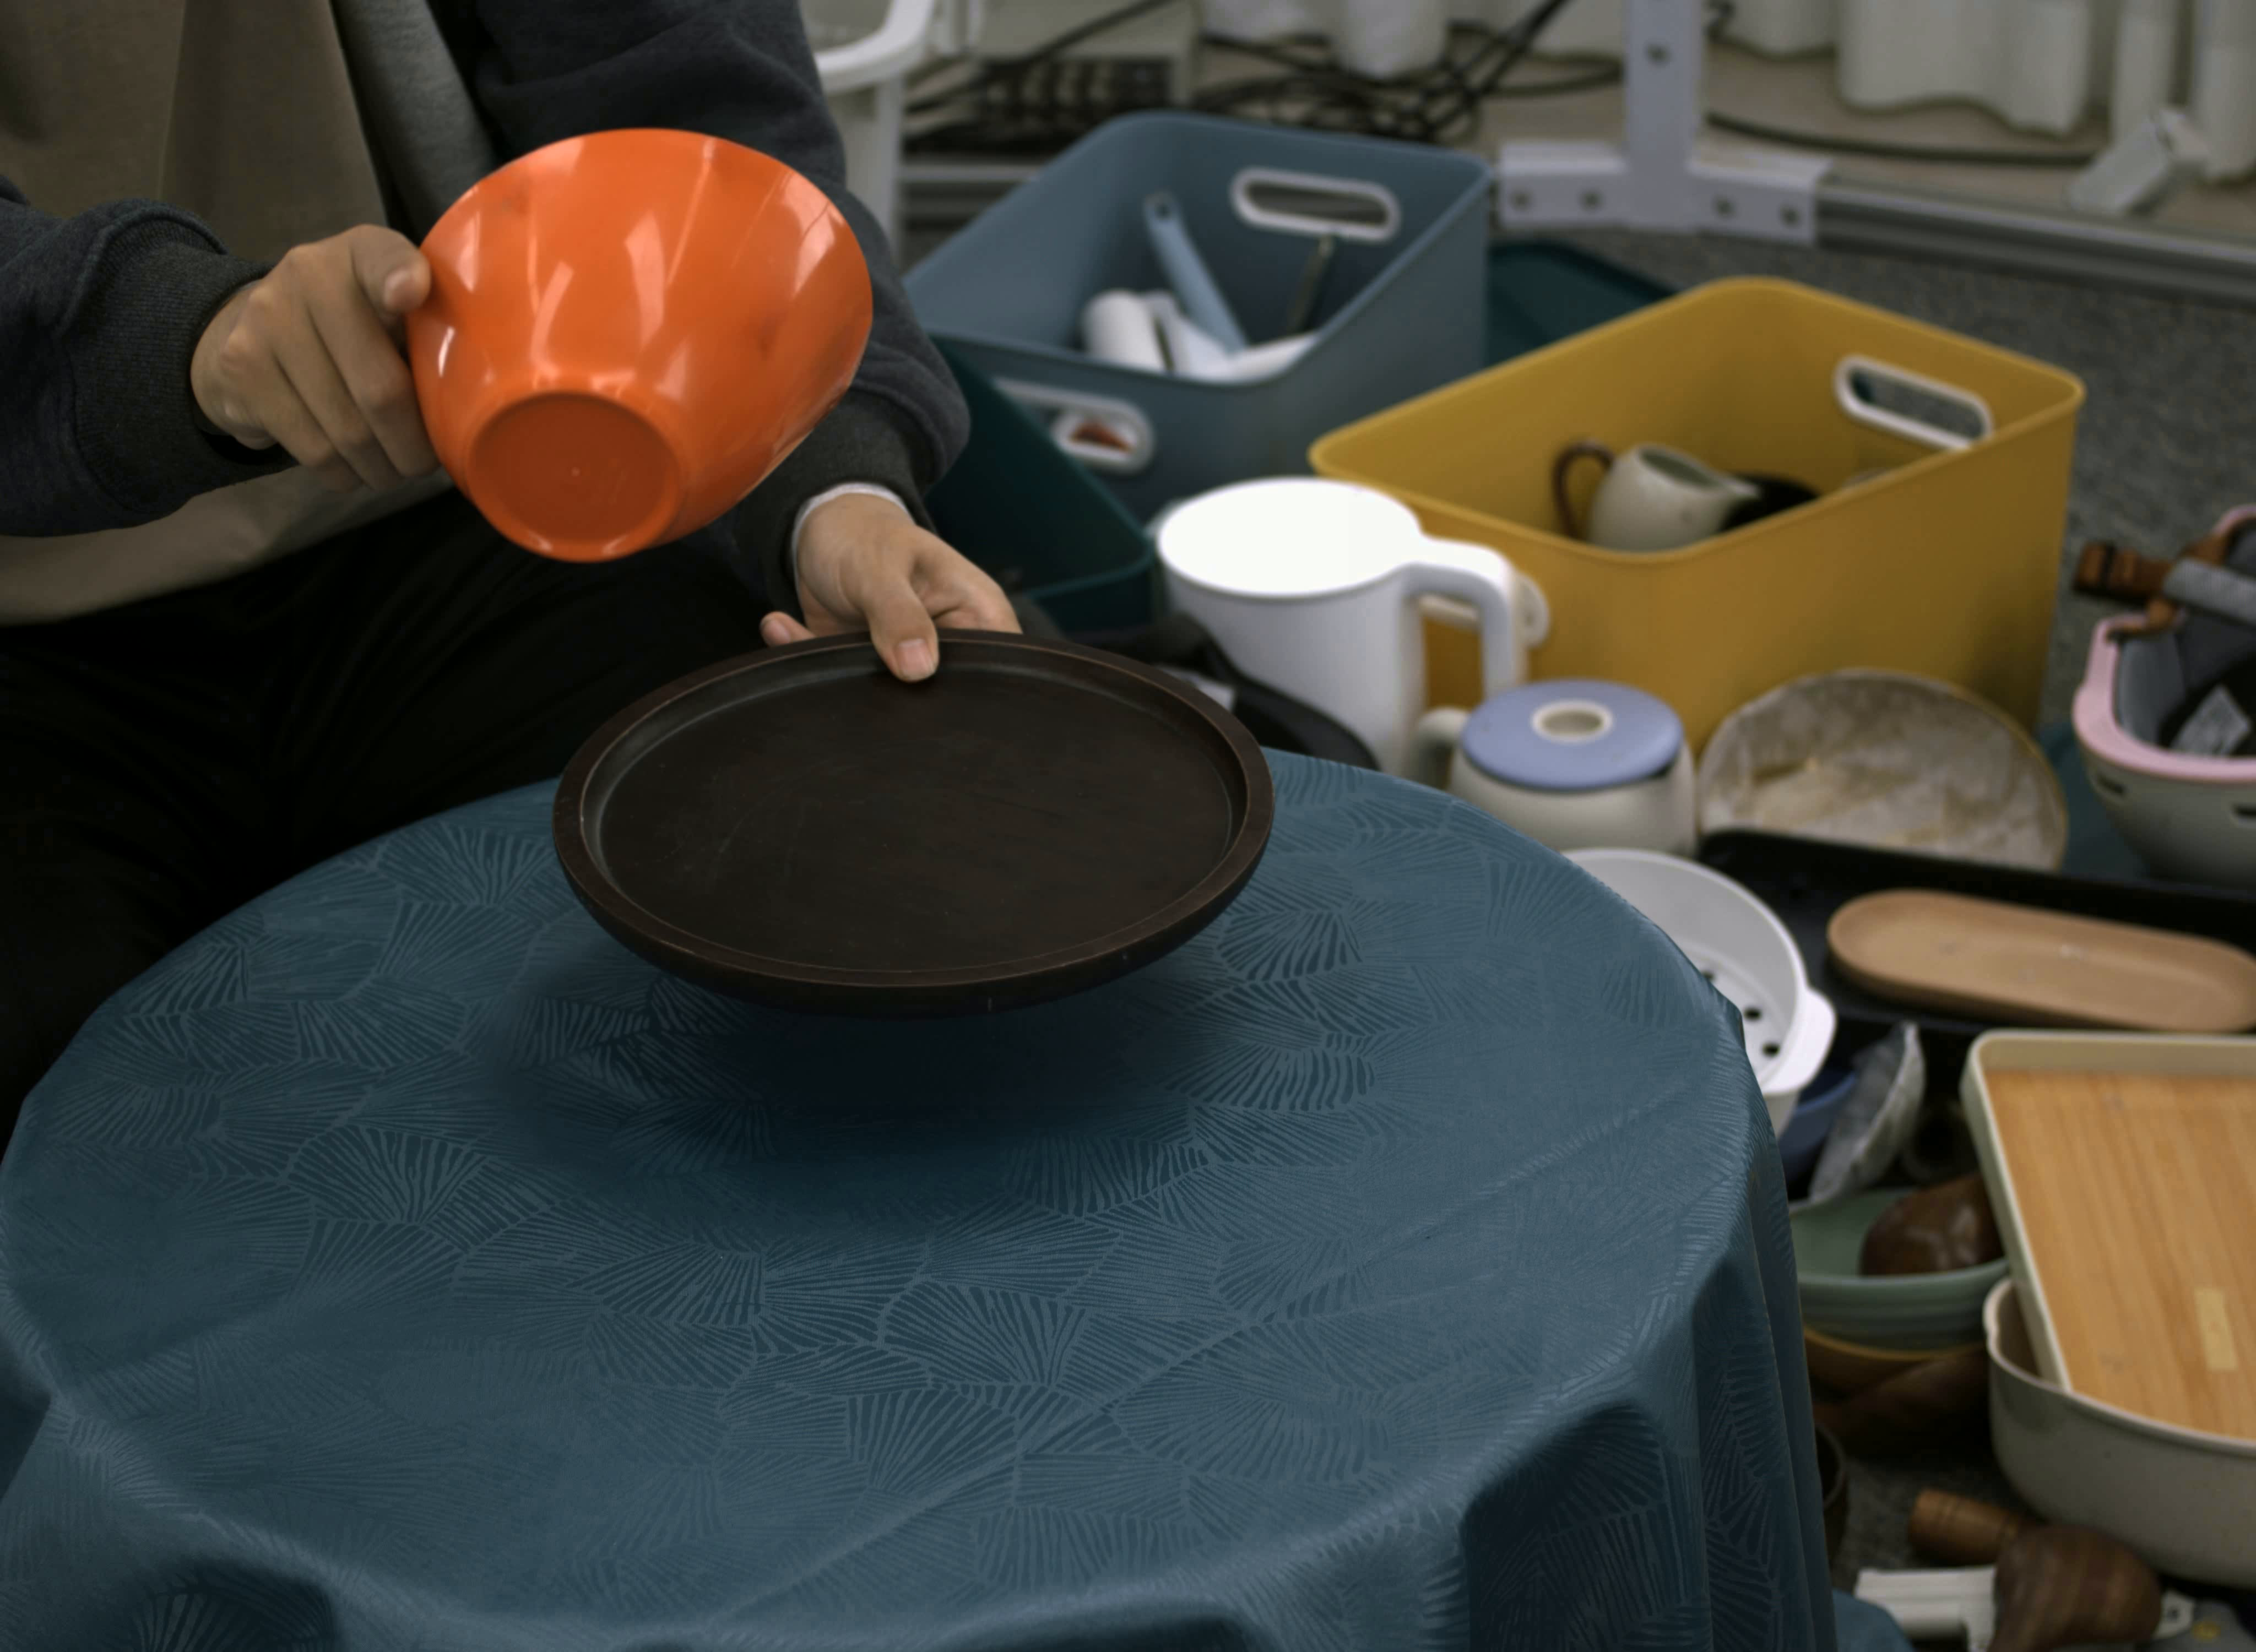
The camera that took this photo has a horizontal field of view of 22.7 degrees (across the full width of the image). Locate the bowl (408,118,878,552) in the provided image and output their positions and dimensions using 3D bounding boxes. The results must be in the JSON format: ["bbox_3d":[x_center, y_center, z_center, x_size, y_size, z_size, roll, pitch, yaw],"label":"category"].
[{"bbox_3d":[-0.155,-0.138,1.759,0.147,0.146,0.107,-1,39,4],"label":"bowl"}]

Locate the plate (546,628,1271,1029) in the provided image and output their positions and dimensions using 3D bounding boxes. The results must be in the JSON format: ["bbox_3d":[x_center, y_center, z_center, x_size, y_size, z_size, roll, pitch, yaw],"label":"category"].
[{"bbox_3d":[-0.075,-0.001,1.959,0.253,0.028,0.259,-1,30,1],"label":"plate"}]
